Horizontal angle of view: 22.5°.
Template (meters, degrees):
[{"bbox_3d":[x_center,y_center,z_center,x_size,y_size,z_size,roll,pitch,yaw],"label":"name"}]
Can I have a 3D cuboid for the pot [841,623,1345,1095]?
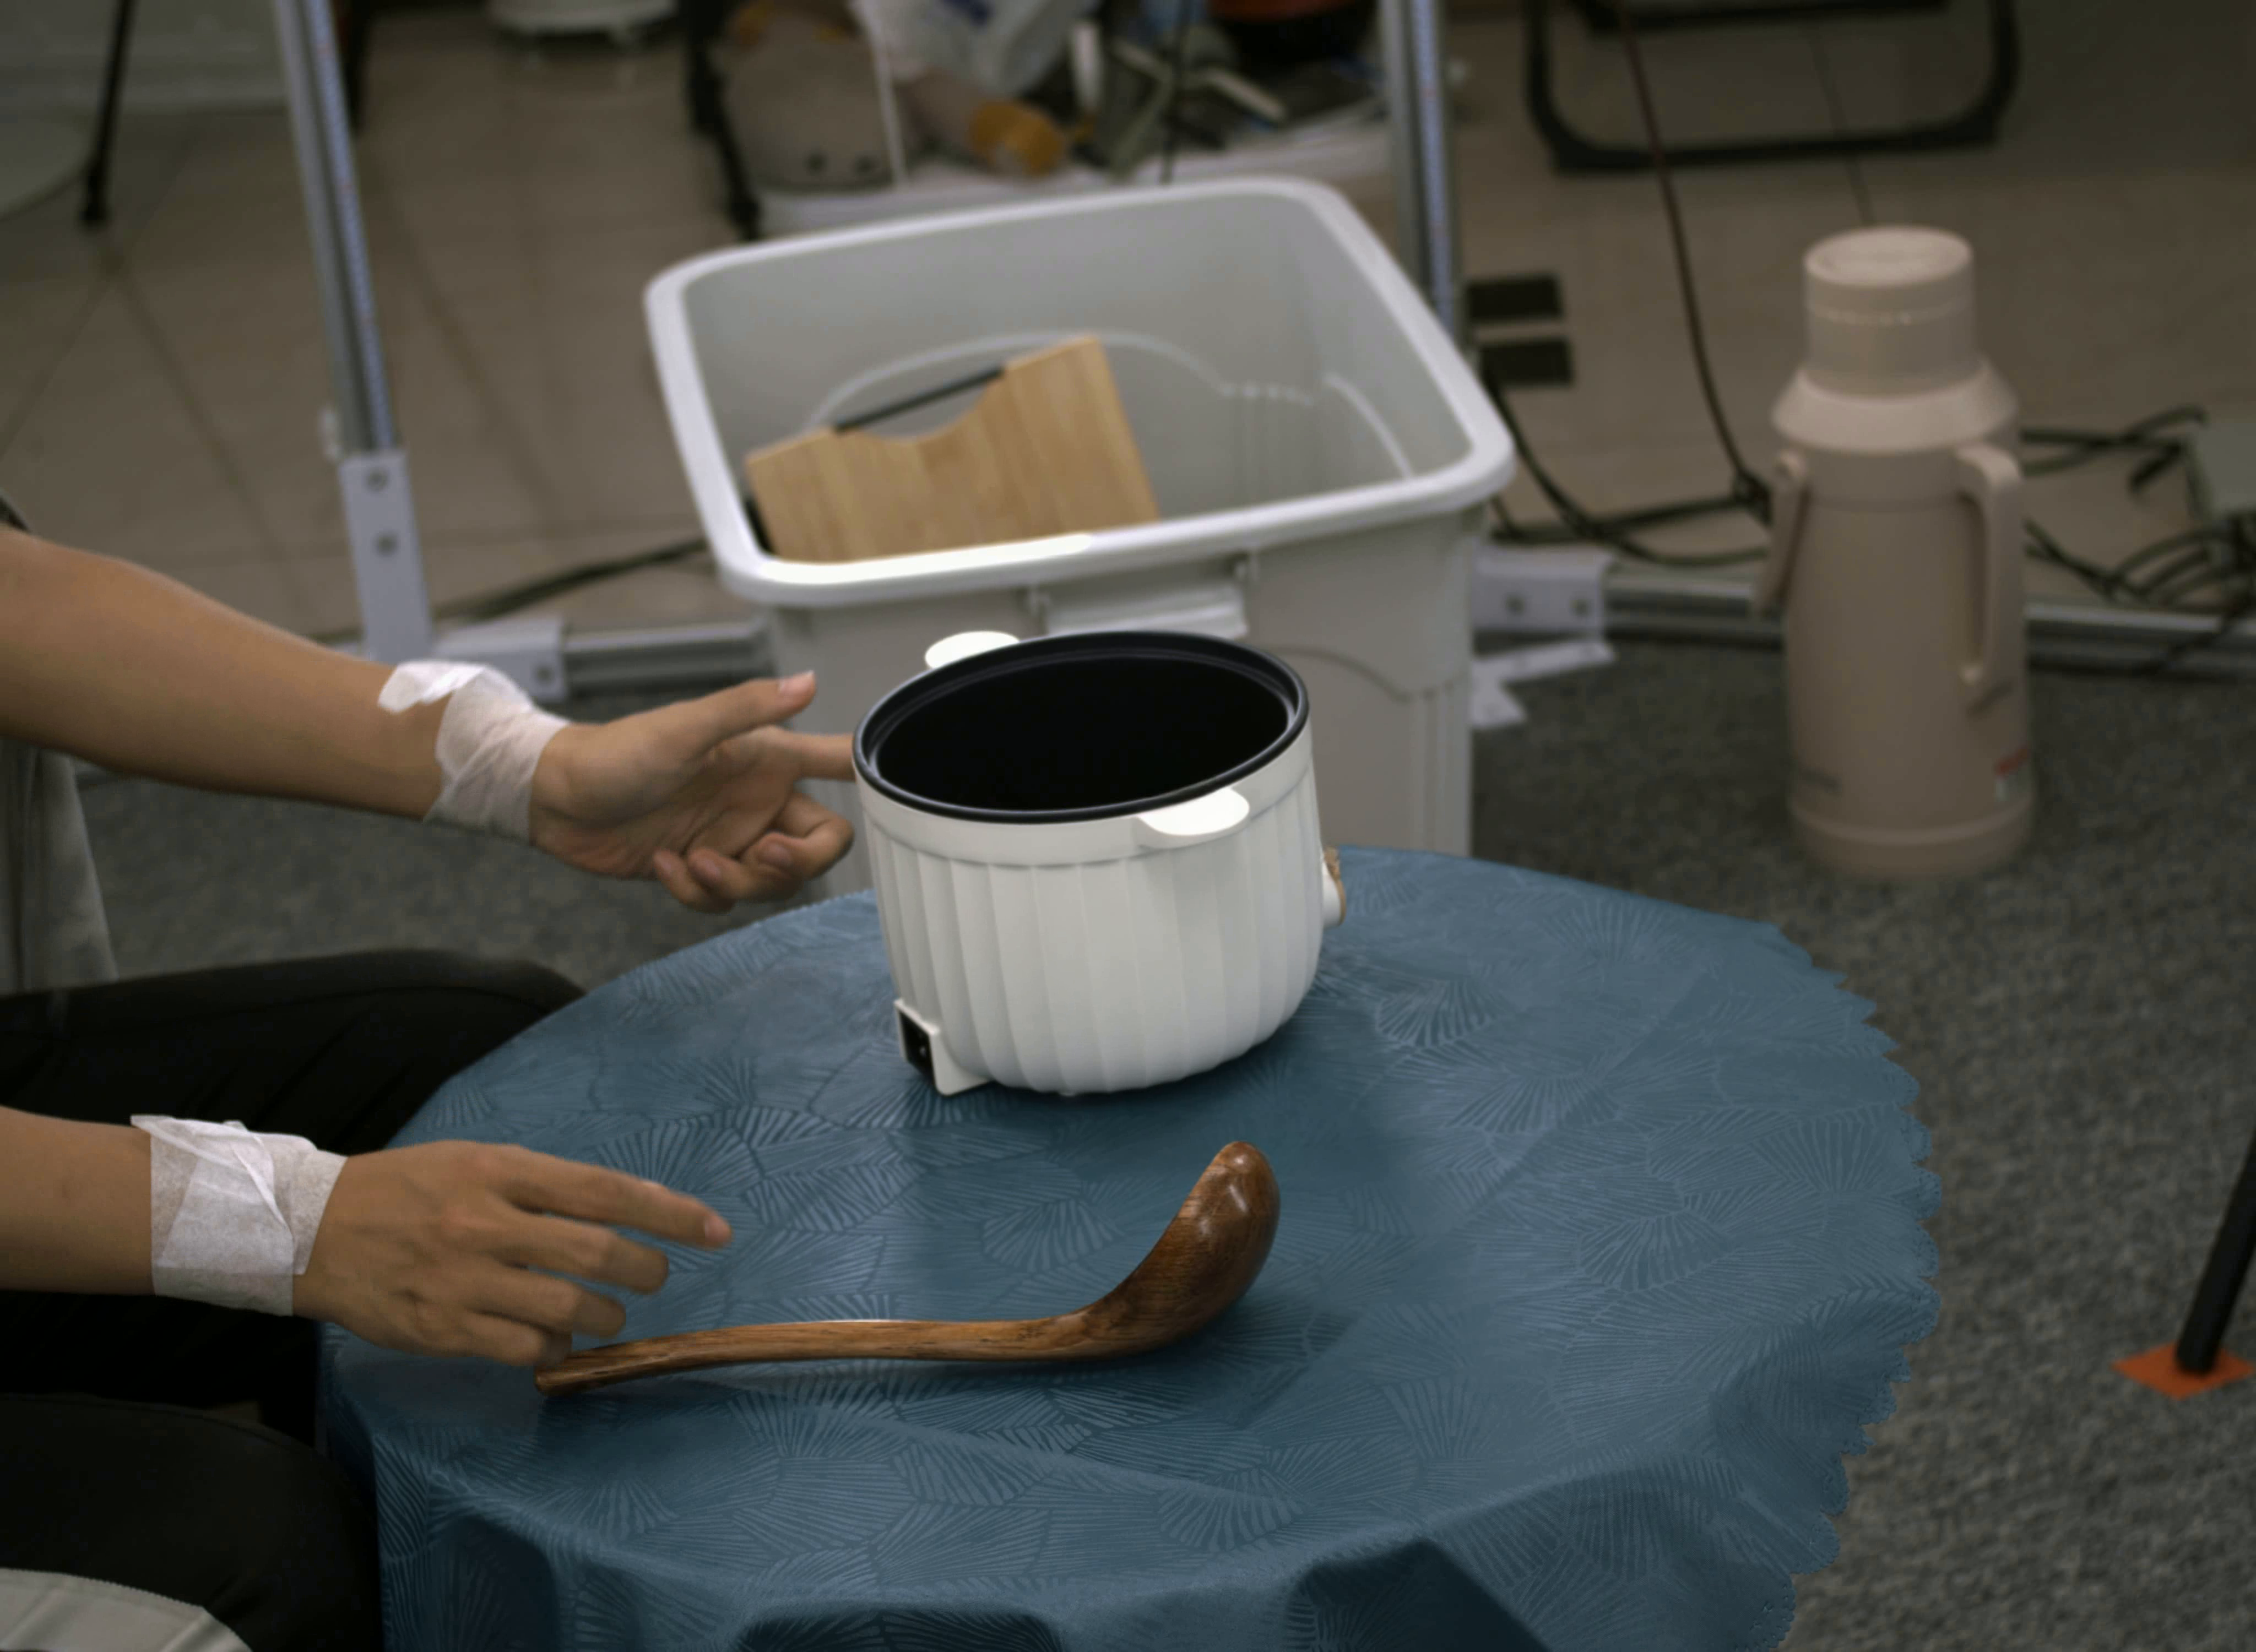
[{"bbox_3d":[-0.008,0.015,2.252,0.189,0.145,0.237,-21,30,-20],"label":"pot"}]

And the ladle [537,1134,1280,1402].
[{"bbox_3d":[-0.081,0.159,2.045,0.273,0.076,0.082,-5,-16,7],"label":"ladle"}]
